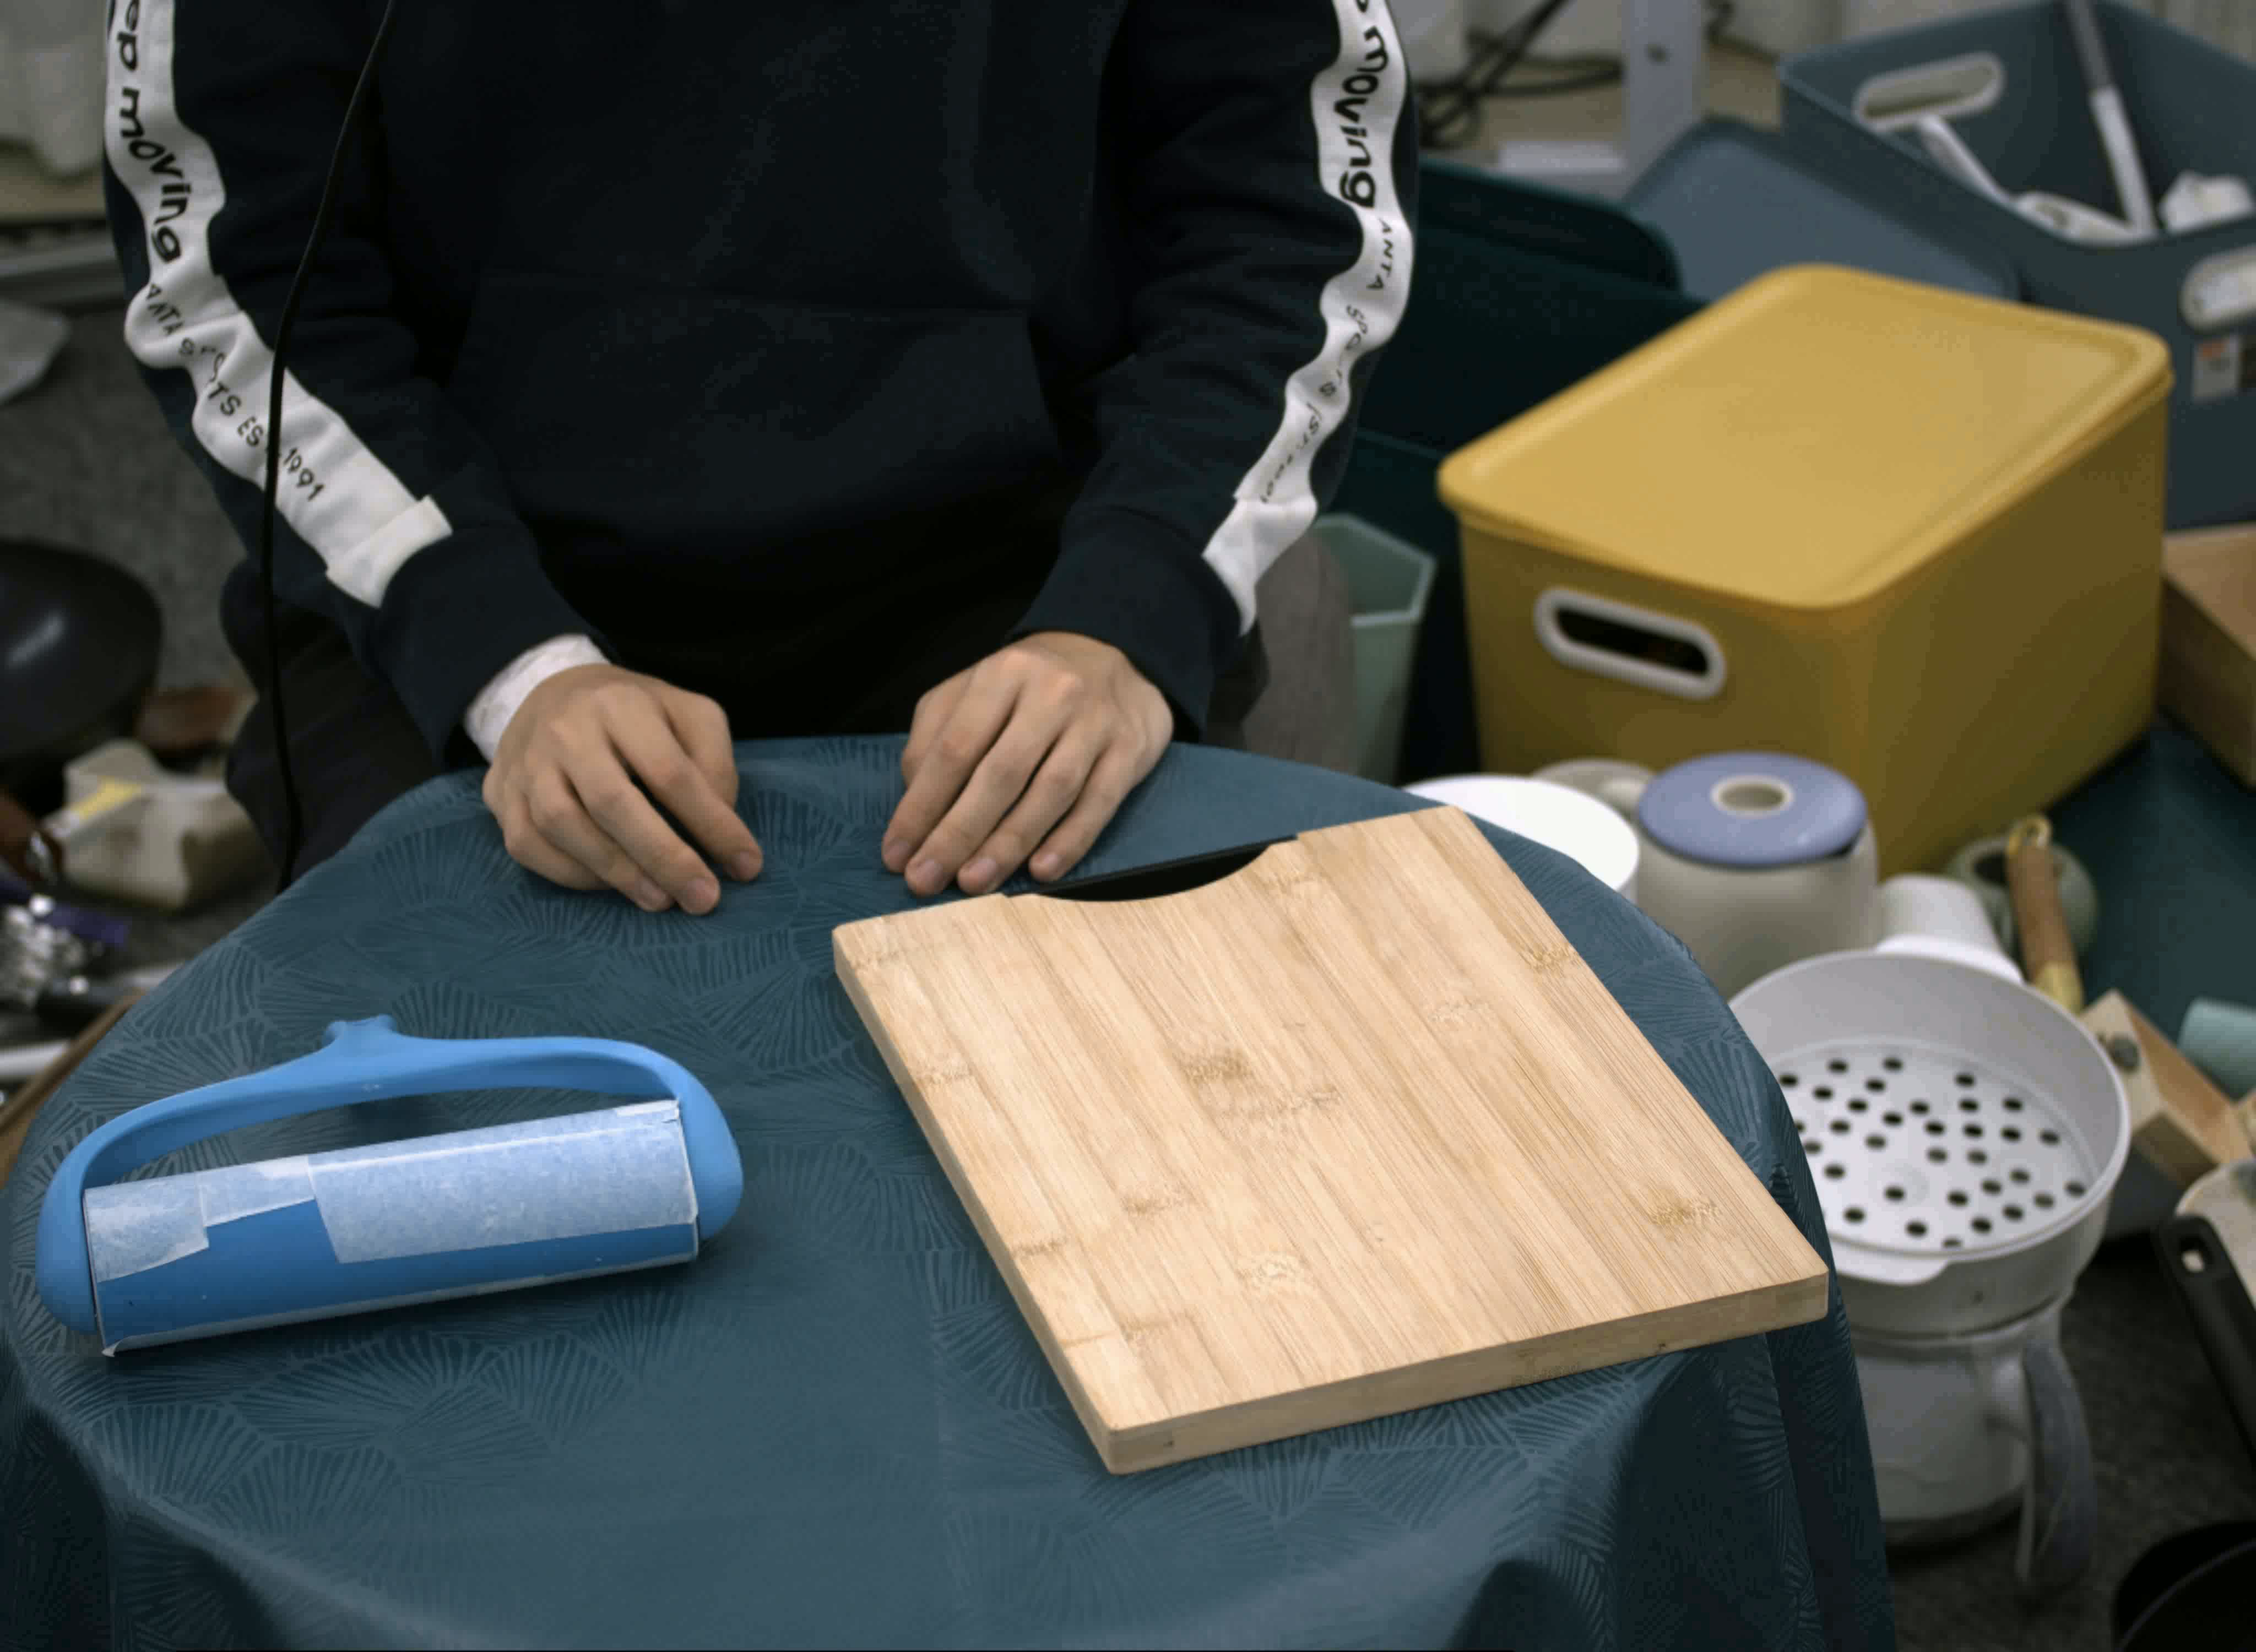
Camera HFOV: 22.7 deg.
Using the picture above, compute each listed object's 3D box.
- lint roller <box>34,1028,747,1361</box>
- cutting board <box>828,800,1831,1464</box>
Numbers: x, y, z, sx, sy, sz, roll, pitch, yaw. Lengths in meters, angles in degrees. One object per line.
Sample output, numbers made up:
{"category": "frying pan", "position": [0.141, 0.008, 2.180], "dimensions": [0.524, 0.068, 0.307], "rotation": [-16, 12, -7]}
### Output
{"category": "lint roller", "position": [-0.251, 0.103, 1.860], "dimensions": [0.229, 0.067, 0.182], "rotation": [-11, 29, -12]}
{"category": "cutting board", "position": [0.057, 0.095, 1.888], "dimensions": [0.251, 0.023, 0.352], "rotation": [-11, 29, -15]}
